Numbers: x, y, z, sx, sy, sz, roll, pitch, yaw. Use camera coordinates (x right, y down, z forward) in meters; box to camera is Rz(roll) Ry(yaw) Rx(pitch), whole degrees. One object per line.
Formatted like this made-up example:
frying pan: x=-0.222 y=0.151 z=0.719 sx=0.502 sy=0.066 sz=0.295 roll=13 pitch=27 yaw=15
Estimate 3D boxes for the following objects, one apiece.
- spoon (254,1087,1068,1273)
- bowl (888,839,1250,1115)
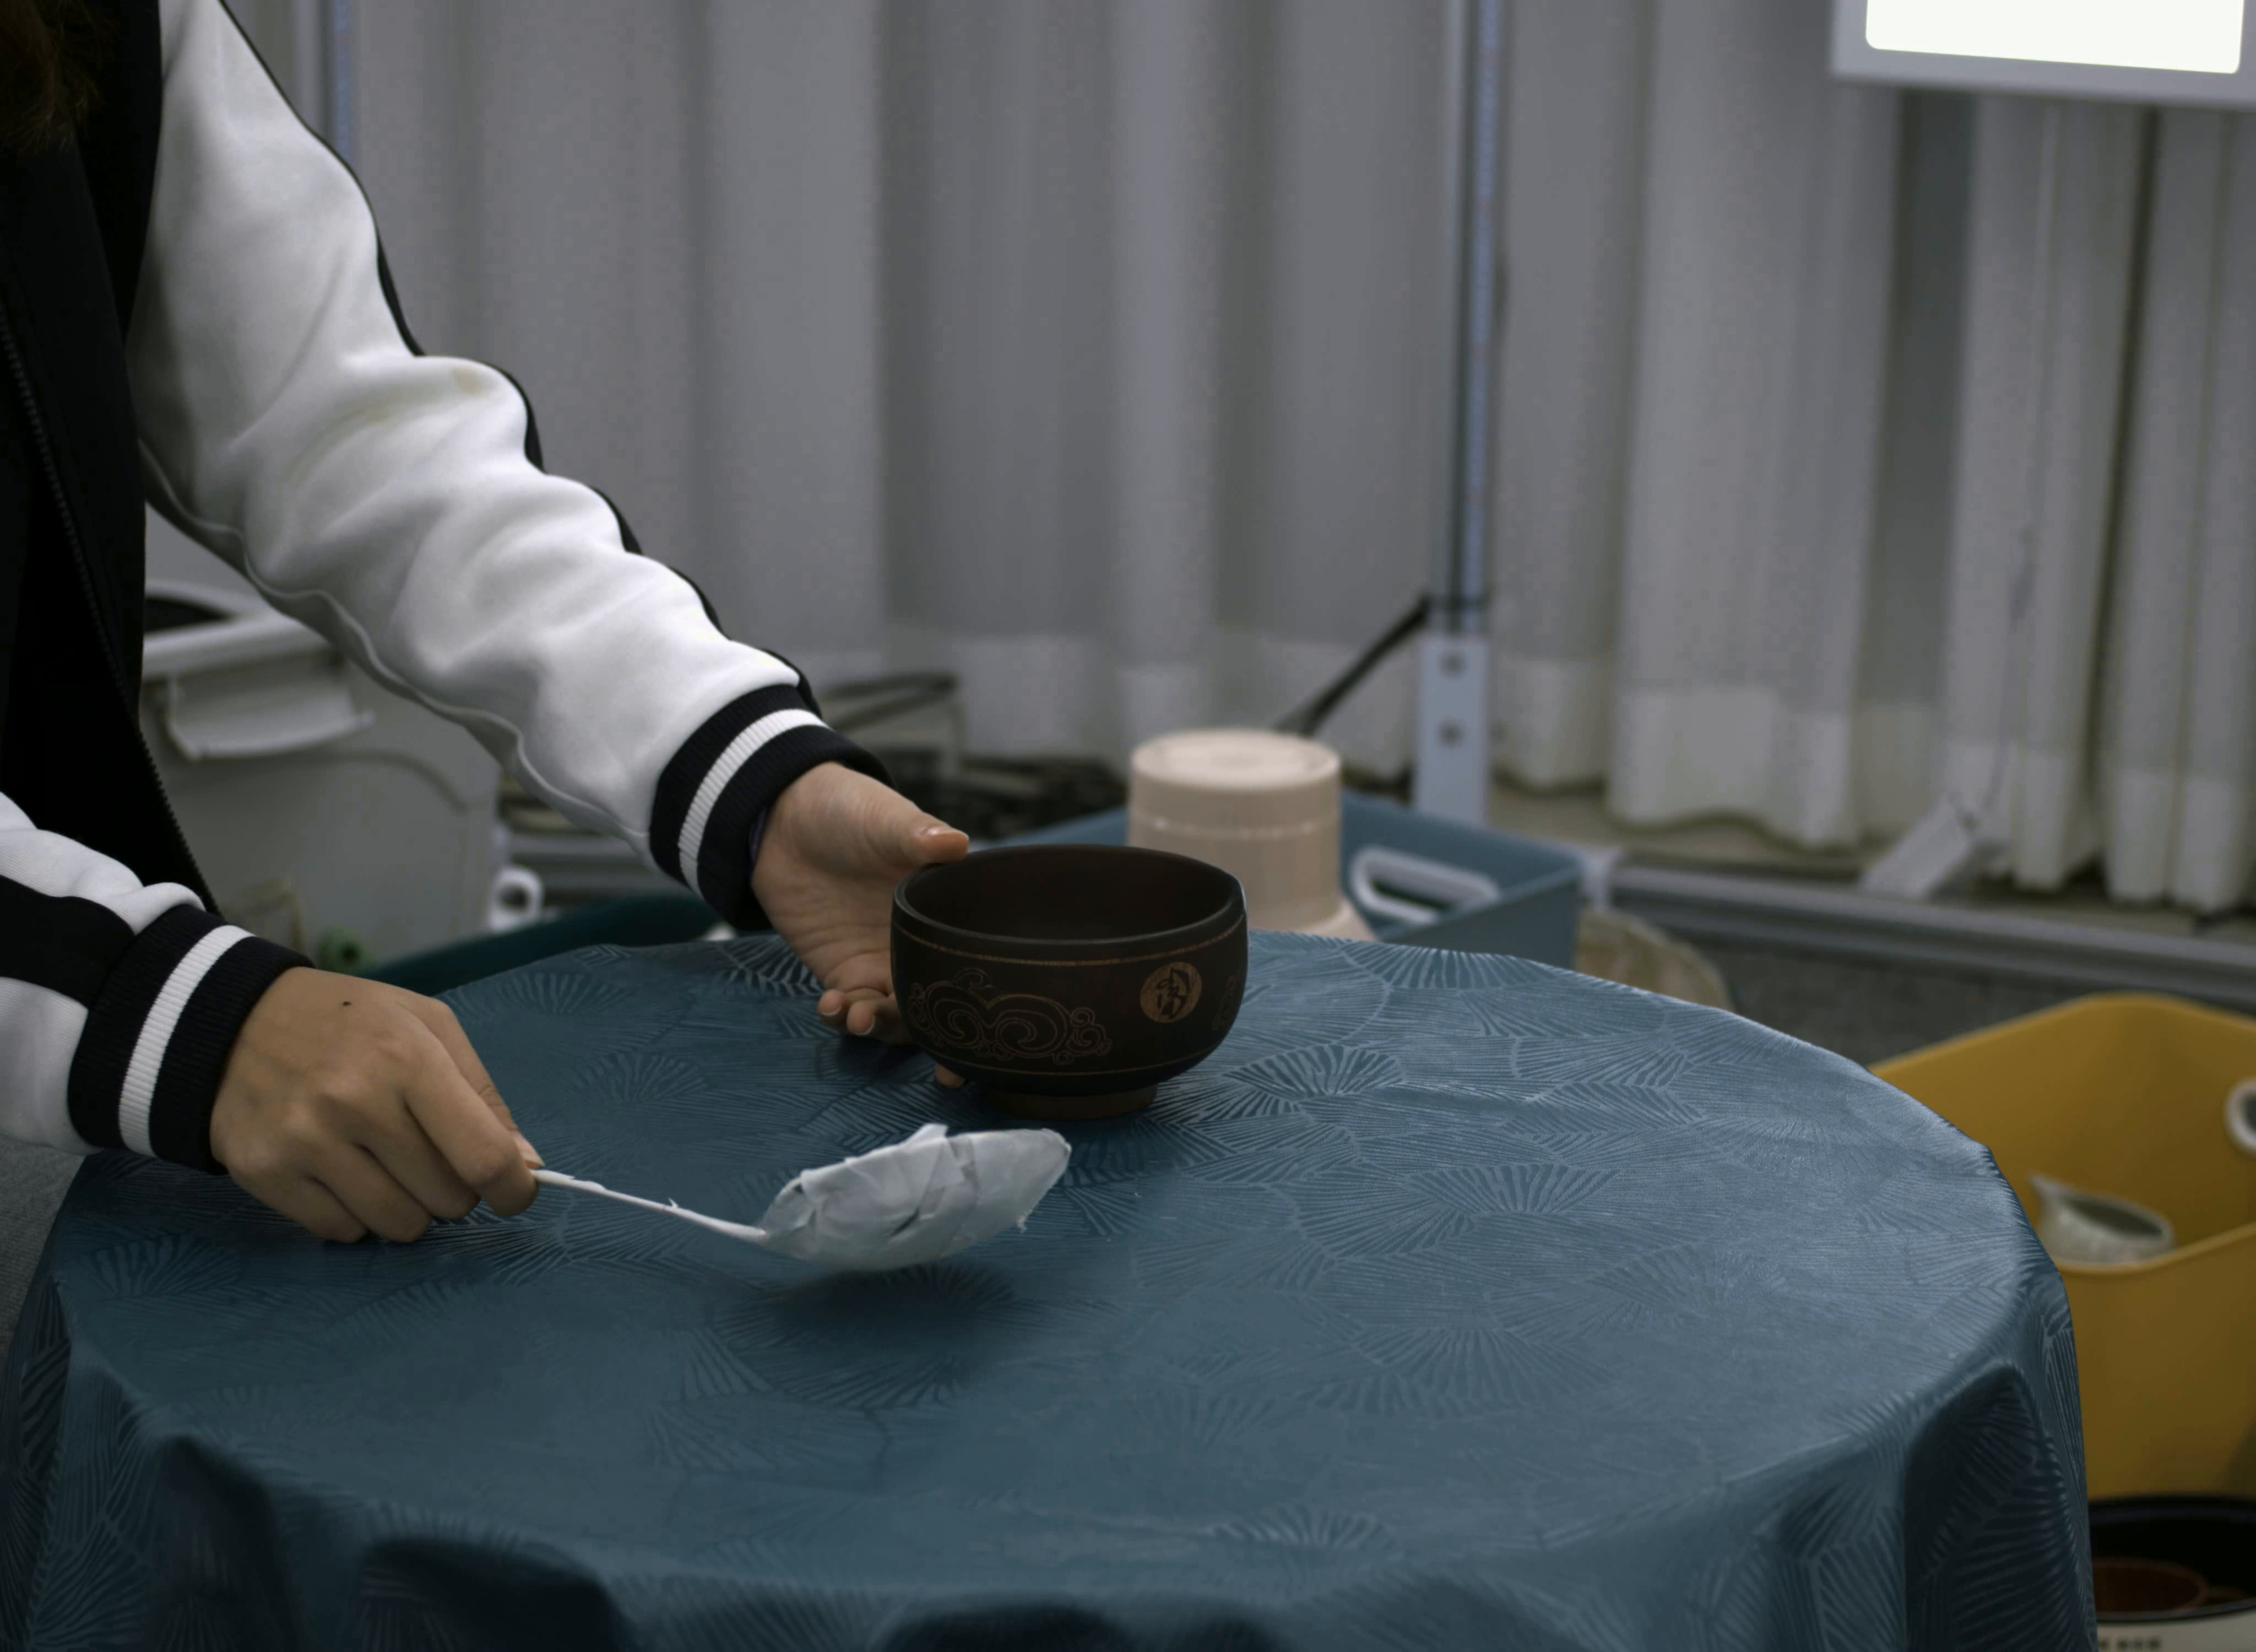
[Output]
spoon: x=-0.144 y=0.086 z=1.565 sx=0.274 sy=0.059 sz=0.102 roll=13 pitch=-8 yaw=31
bowl: x=-0.019 y=0.052 z=1.701 sx=0.117 sy=0.070 sz=0.117 roll=0 pitch=15 yaw=0
